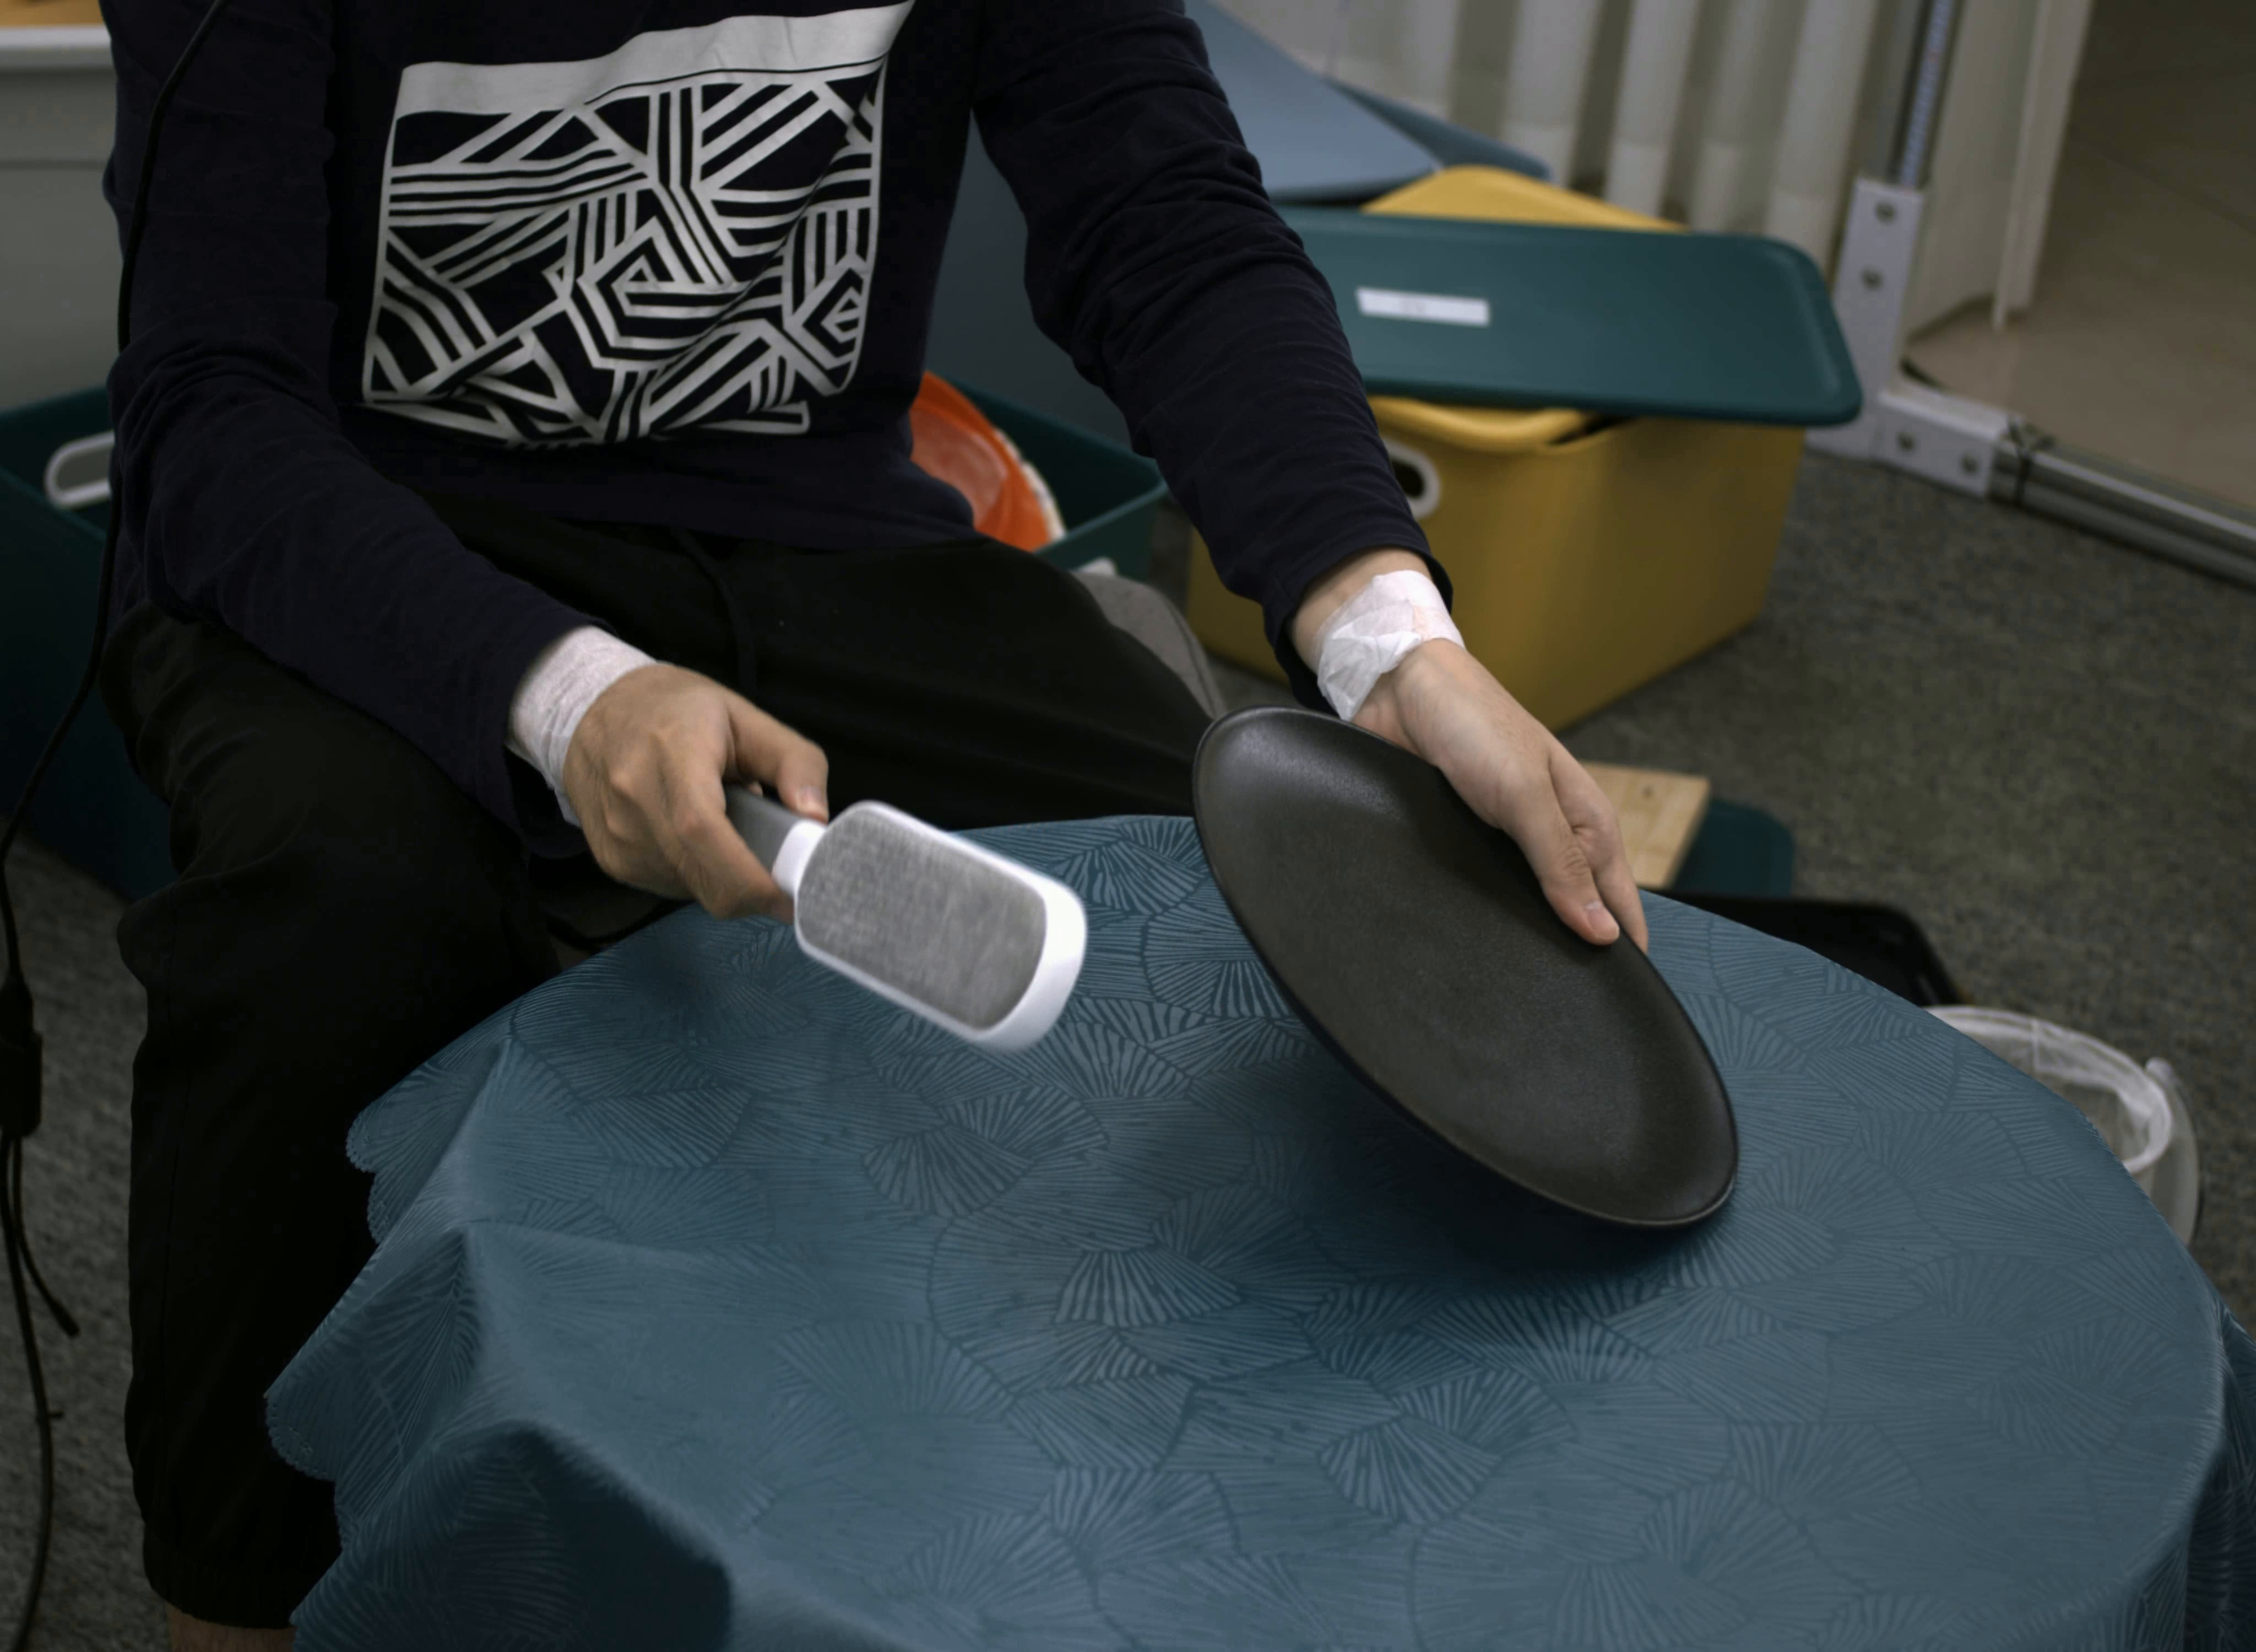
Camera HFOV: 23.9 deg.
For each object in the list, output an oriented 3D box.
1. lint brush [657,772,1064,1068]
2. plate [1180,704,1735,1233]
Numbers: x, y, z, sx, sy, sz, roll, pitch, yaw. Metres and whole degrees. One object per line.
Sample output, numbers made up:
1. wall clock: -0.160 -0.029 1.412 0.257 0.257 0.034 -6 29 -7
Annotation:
1. lint brush: -0.095 0.021 1.782 0.021 0.060 0.311 18 3 -29
2. plate: 0.110 0.052 1.846 0.243 0.023 0.246 31 28 -19
